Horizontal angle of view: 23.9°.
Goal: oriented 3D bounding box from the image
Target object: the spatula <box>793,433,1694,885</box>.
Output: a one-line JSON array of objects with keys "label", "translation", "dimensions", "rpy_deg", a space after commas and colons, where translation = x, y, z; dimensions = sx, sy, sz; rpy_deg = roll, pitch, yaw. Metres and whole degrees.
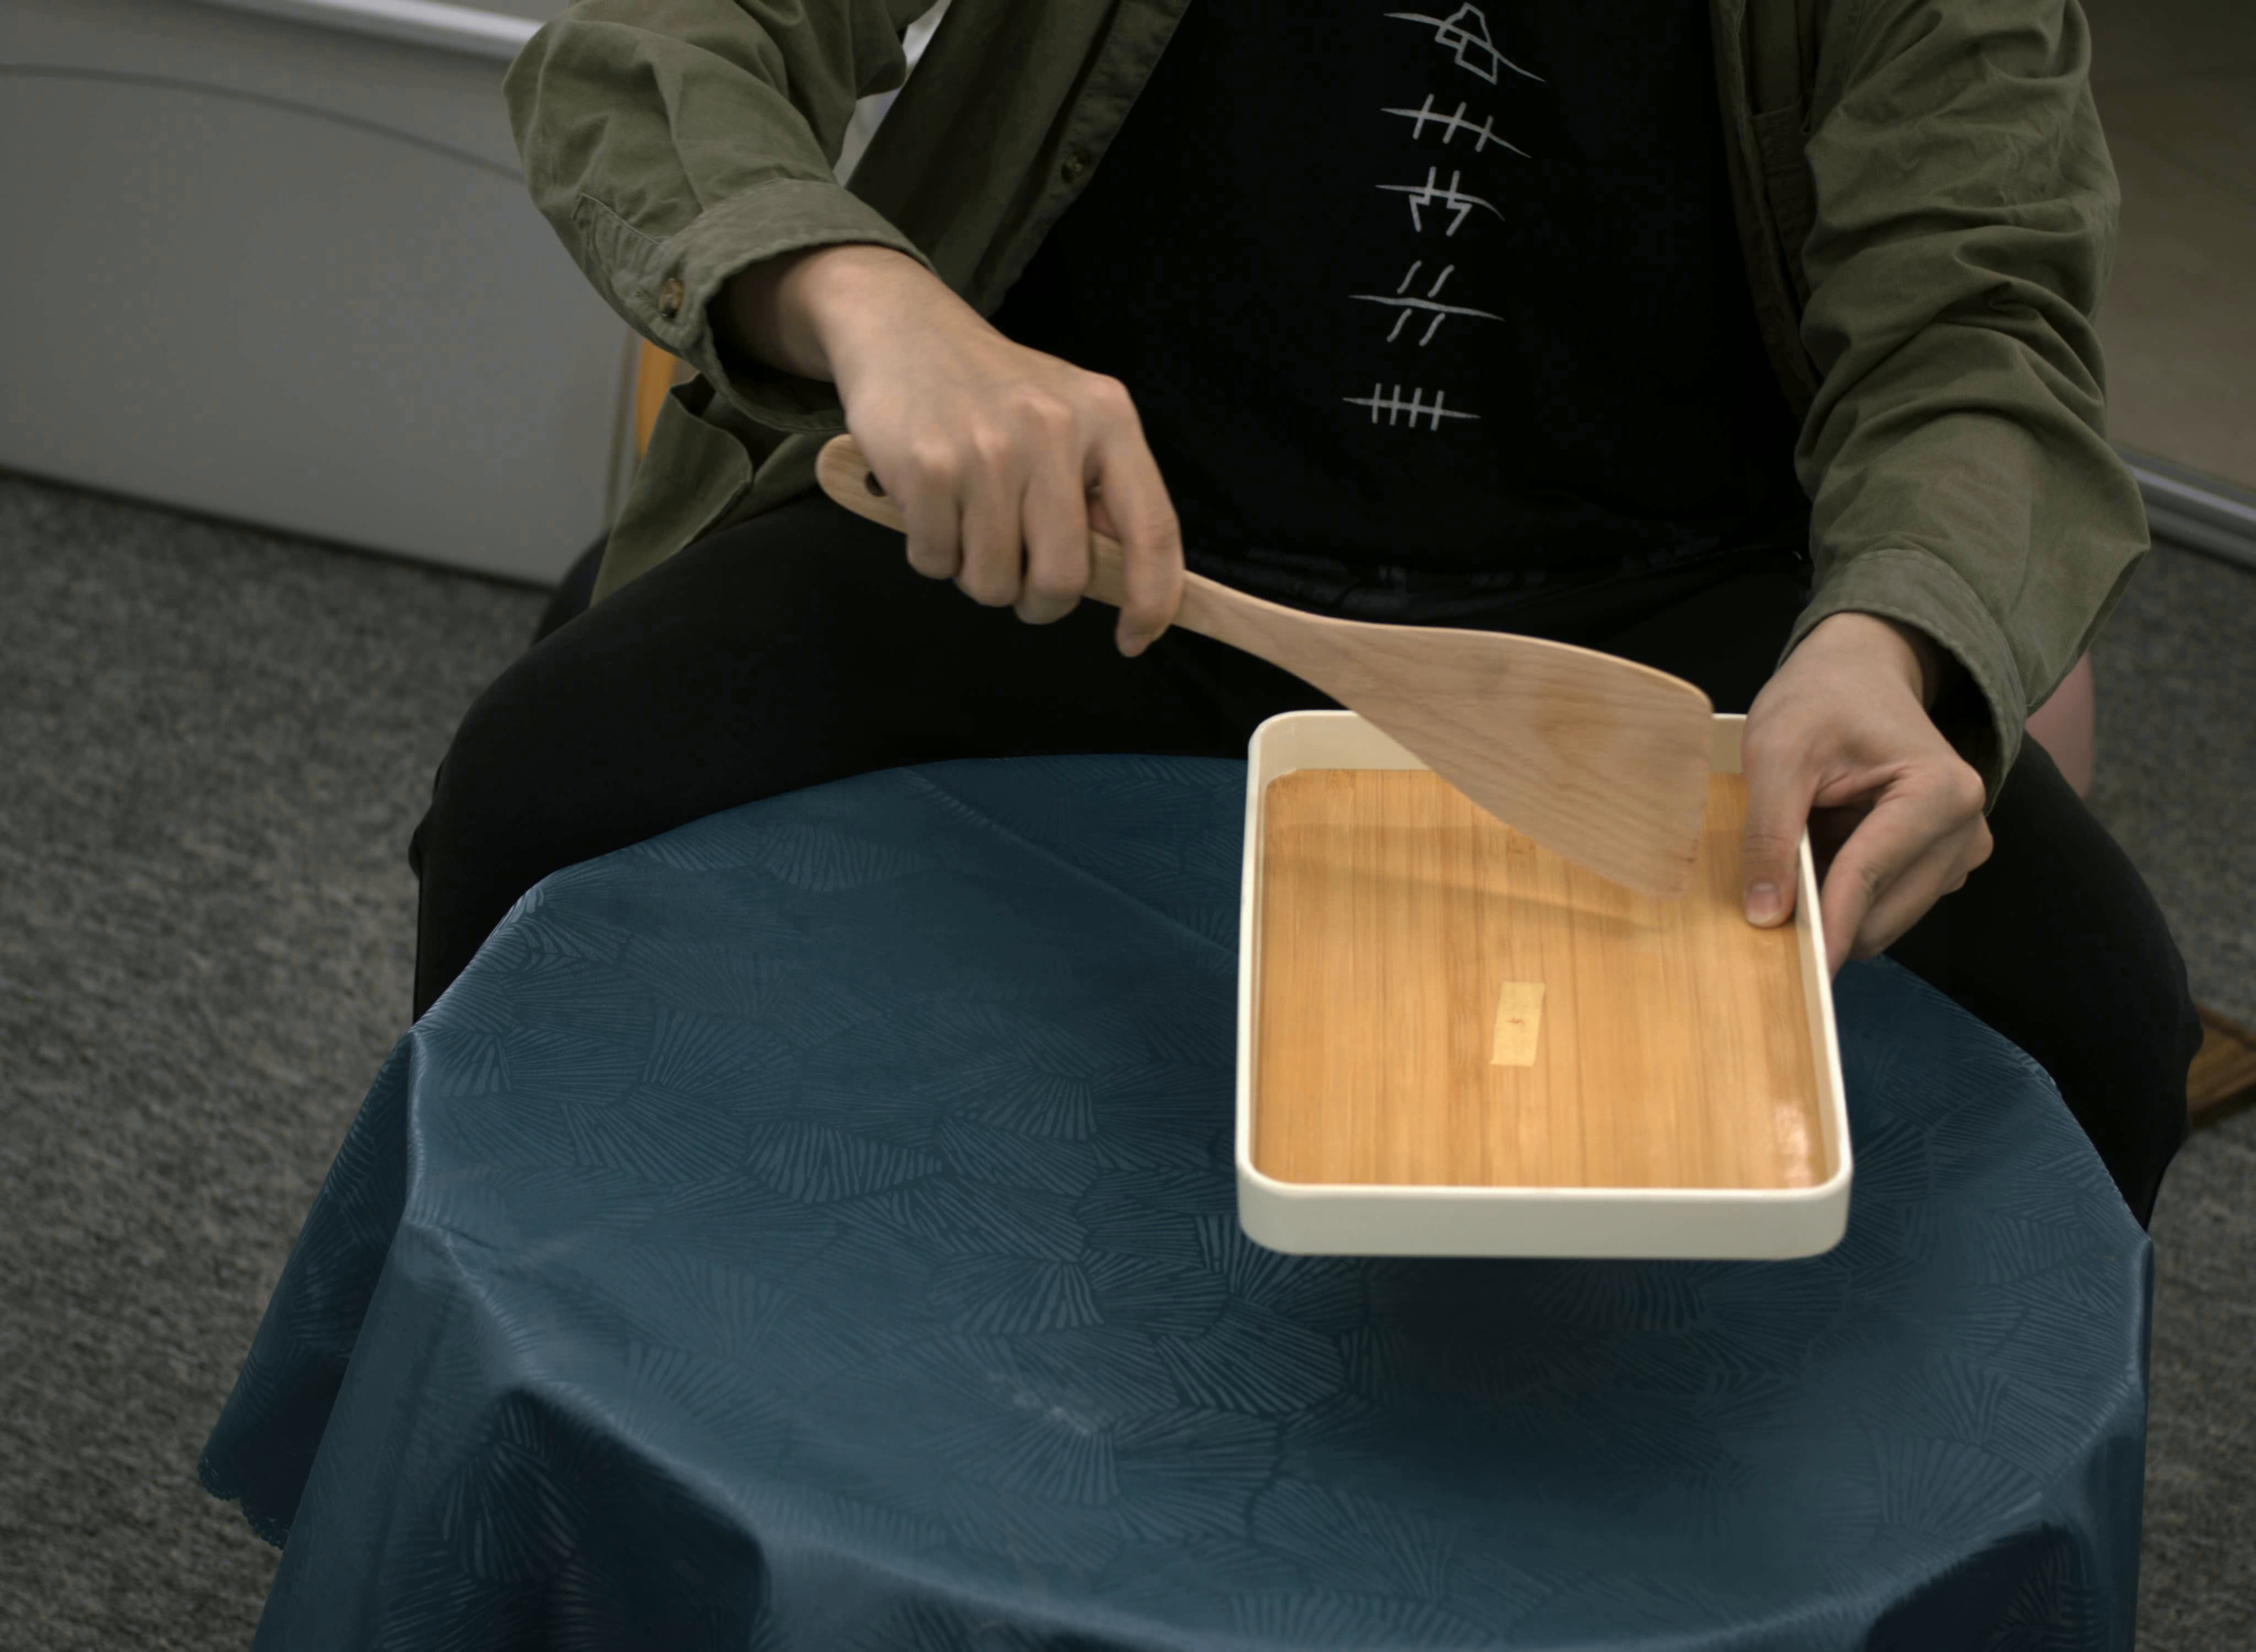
[{"label": "spatula", "translation": [0.038, -0.068, 1.783], "dimensions": [0.328, 0.080, 0.016], "rpy_deg": [20, 29, 8]}]

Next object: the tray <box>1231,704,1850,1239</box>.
[{"label": "tray", "translation": [0.132, 0.042, 1.751], "dimensions": [0.191, 0.027, 0.302], "rpy_deg": [1, 29, 3]}]
